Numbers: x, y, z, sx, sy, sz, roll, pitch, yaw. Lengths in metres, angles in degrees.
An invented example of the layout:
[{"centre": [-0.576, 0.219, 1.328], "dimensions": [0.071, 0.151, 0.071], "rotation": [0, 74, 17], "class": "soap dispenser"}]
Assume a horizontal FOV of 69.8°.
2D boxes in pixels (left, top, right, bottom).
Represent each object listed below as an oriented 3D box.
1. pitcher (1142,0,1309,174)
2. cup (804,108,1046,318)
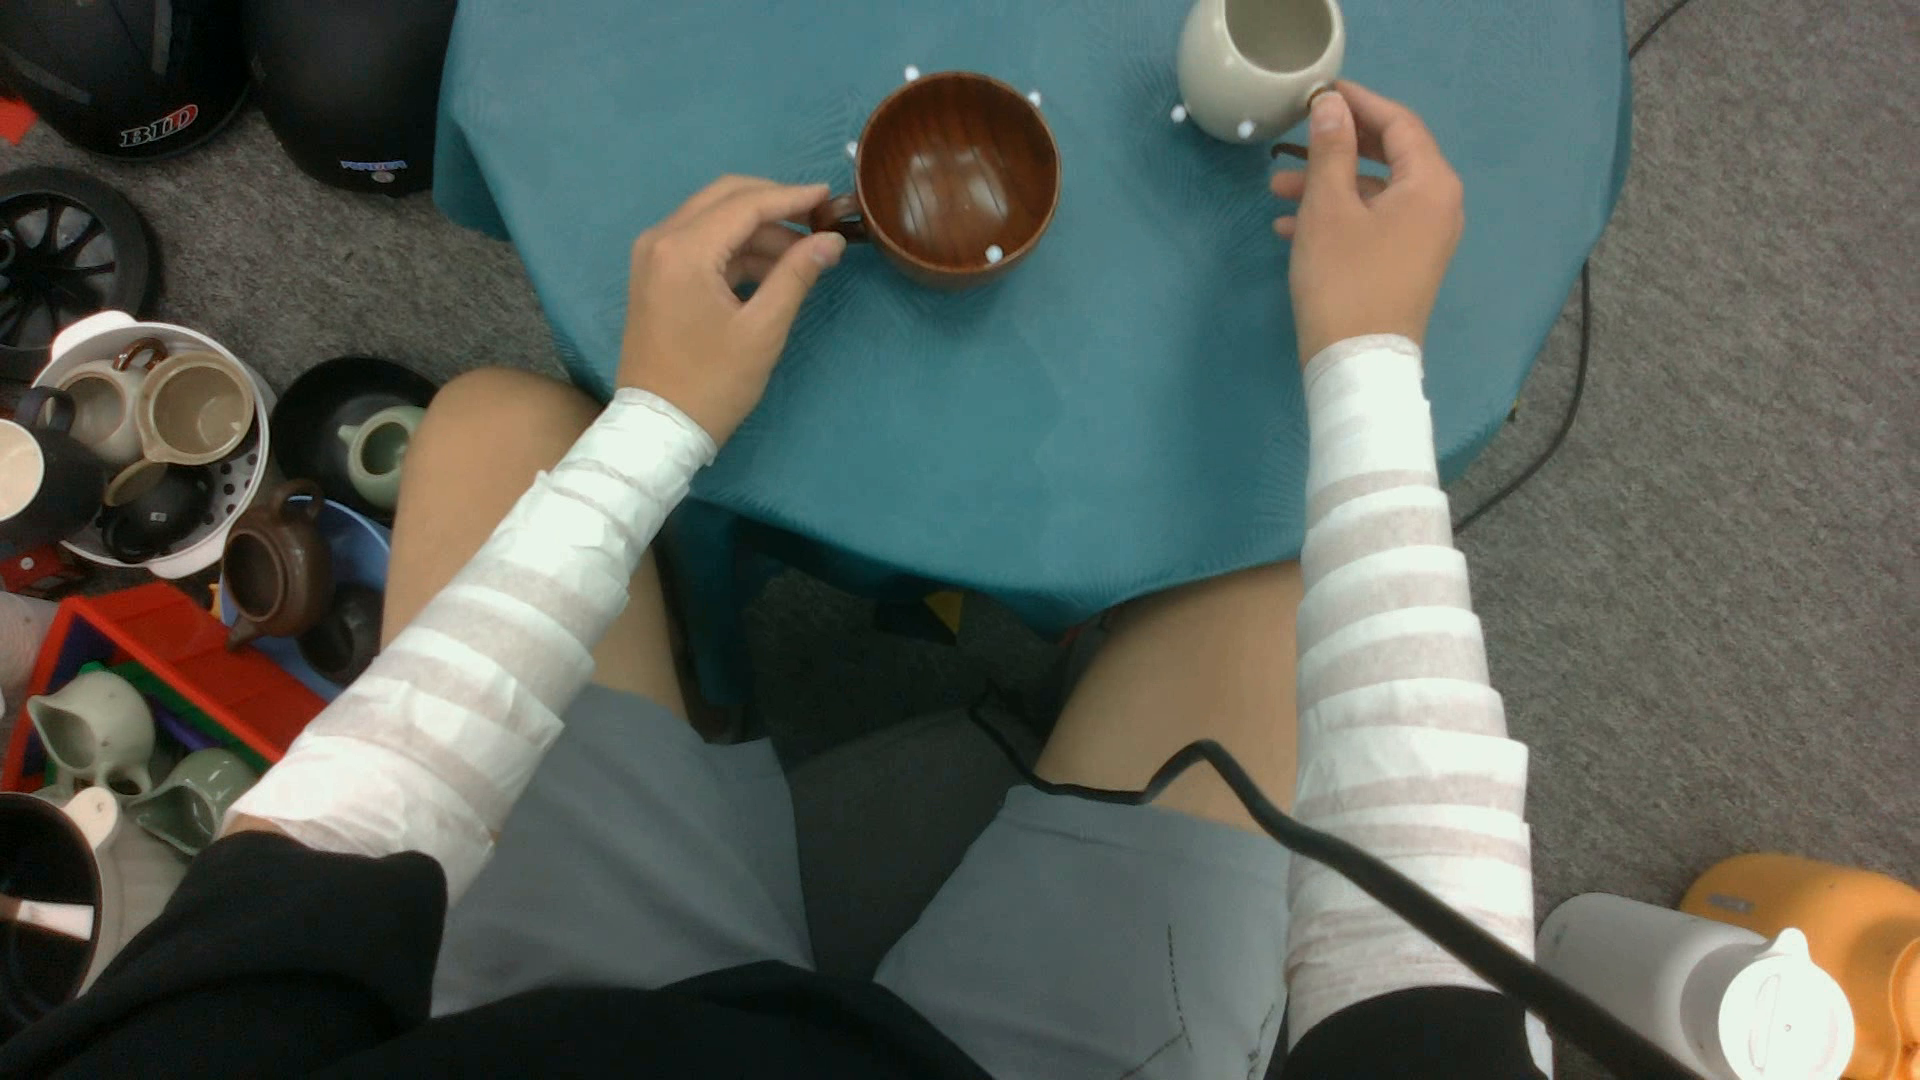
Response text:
[{"centre": [0.132, -0.225, 0.683], "dimensions": [0.076, 0.088, 0.119], "rotation": [-32, 82, -2], "class": "pitcher"}, {"centre": [-0.019, -0.150, 0.675], "dimensions": [0.119, 0.067, 0.096], "rotation": [-20, 87, -4], "class": "cup"}]
